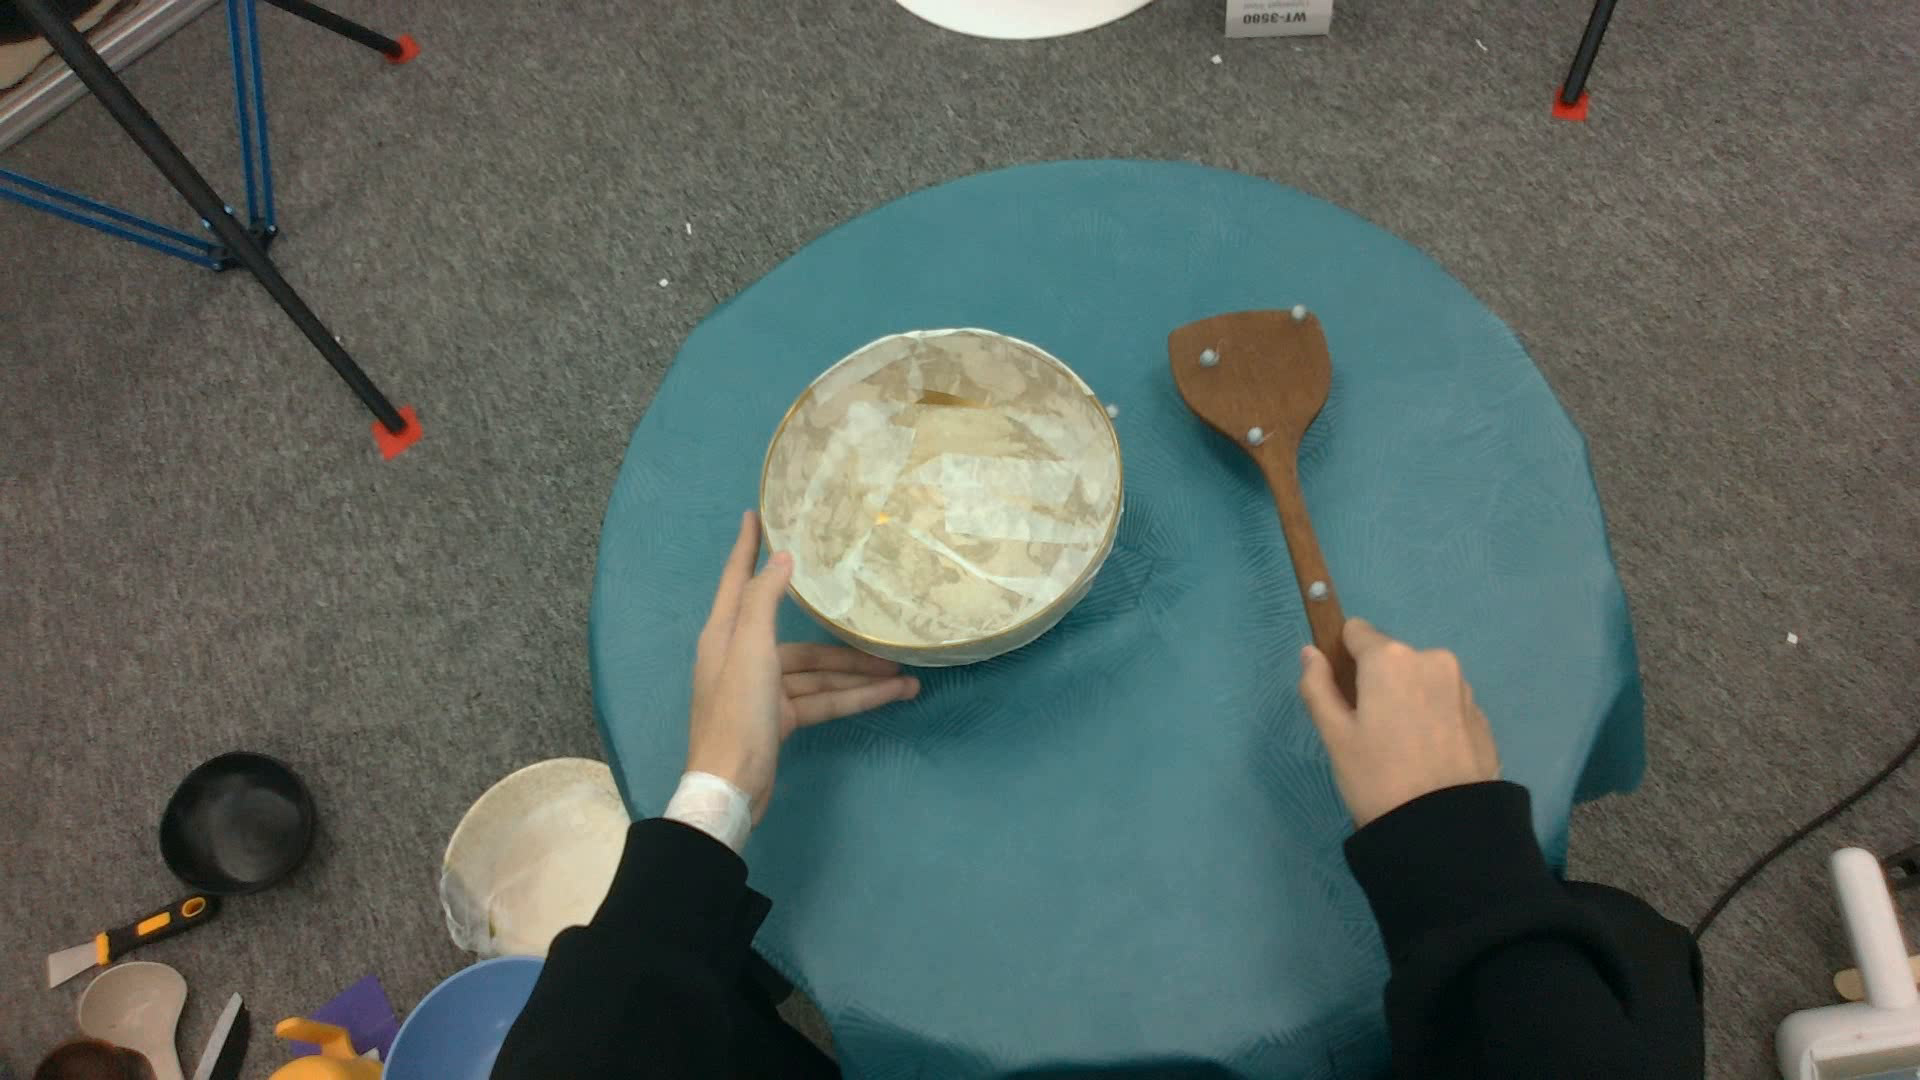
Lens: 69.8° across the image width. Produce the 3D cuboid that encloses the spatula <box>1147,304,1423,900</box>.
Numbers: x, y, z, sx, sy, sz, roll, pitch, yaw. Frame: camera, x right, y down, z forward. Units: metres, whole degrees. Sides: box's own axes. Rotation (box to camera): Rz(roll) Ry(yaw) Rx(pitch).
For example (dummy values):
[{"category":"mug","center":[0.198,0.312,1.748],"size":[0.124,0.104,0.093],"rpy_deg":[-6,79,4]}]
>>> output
[{"category":"spatula","center":[0.180,0.009,0.743],"size":[0.096,0.016,0.387],"rpy_deg":[-9,52,2]}]

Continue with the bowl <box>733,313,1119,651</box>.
[{"category":"bowl","center":[-0.017,-0.018,0.780],"size":[0.214,0.094,0.215],"rpy_deg":[-2,62,3]}]
